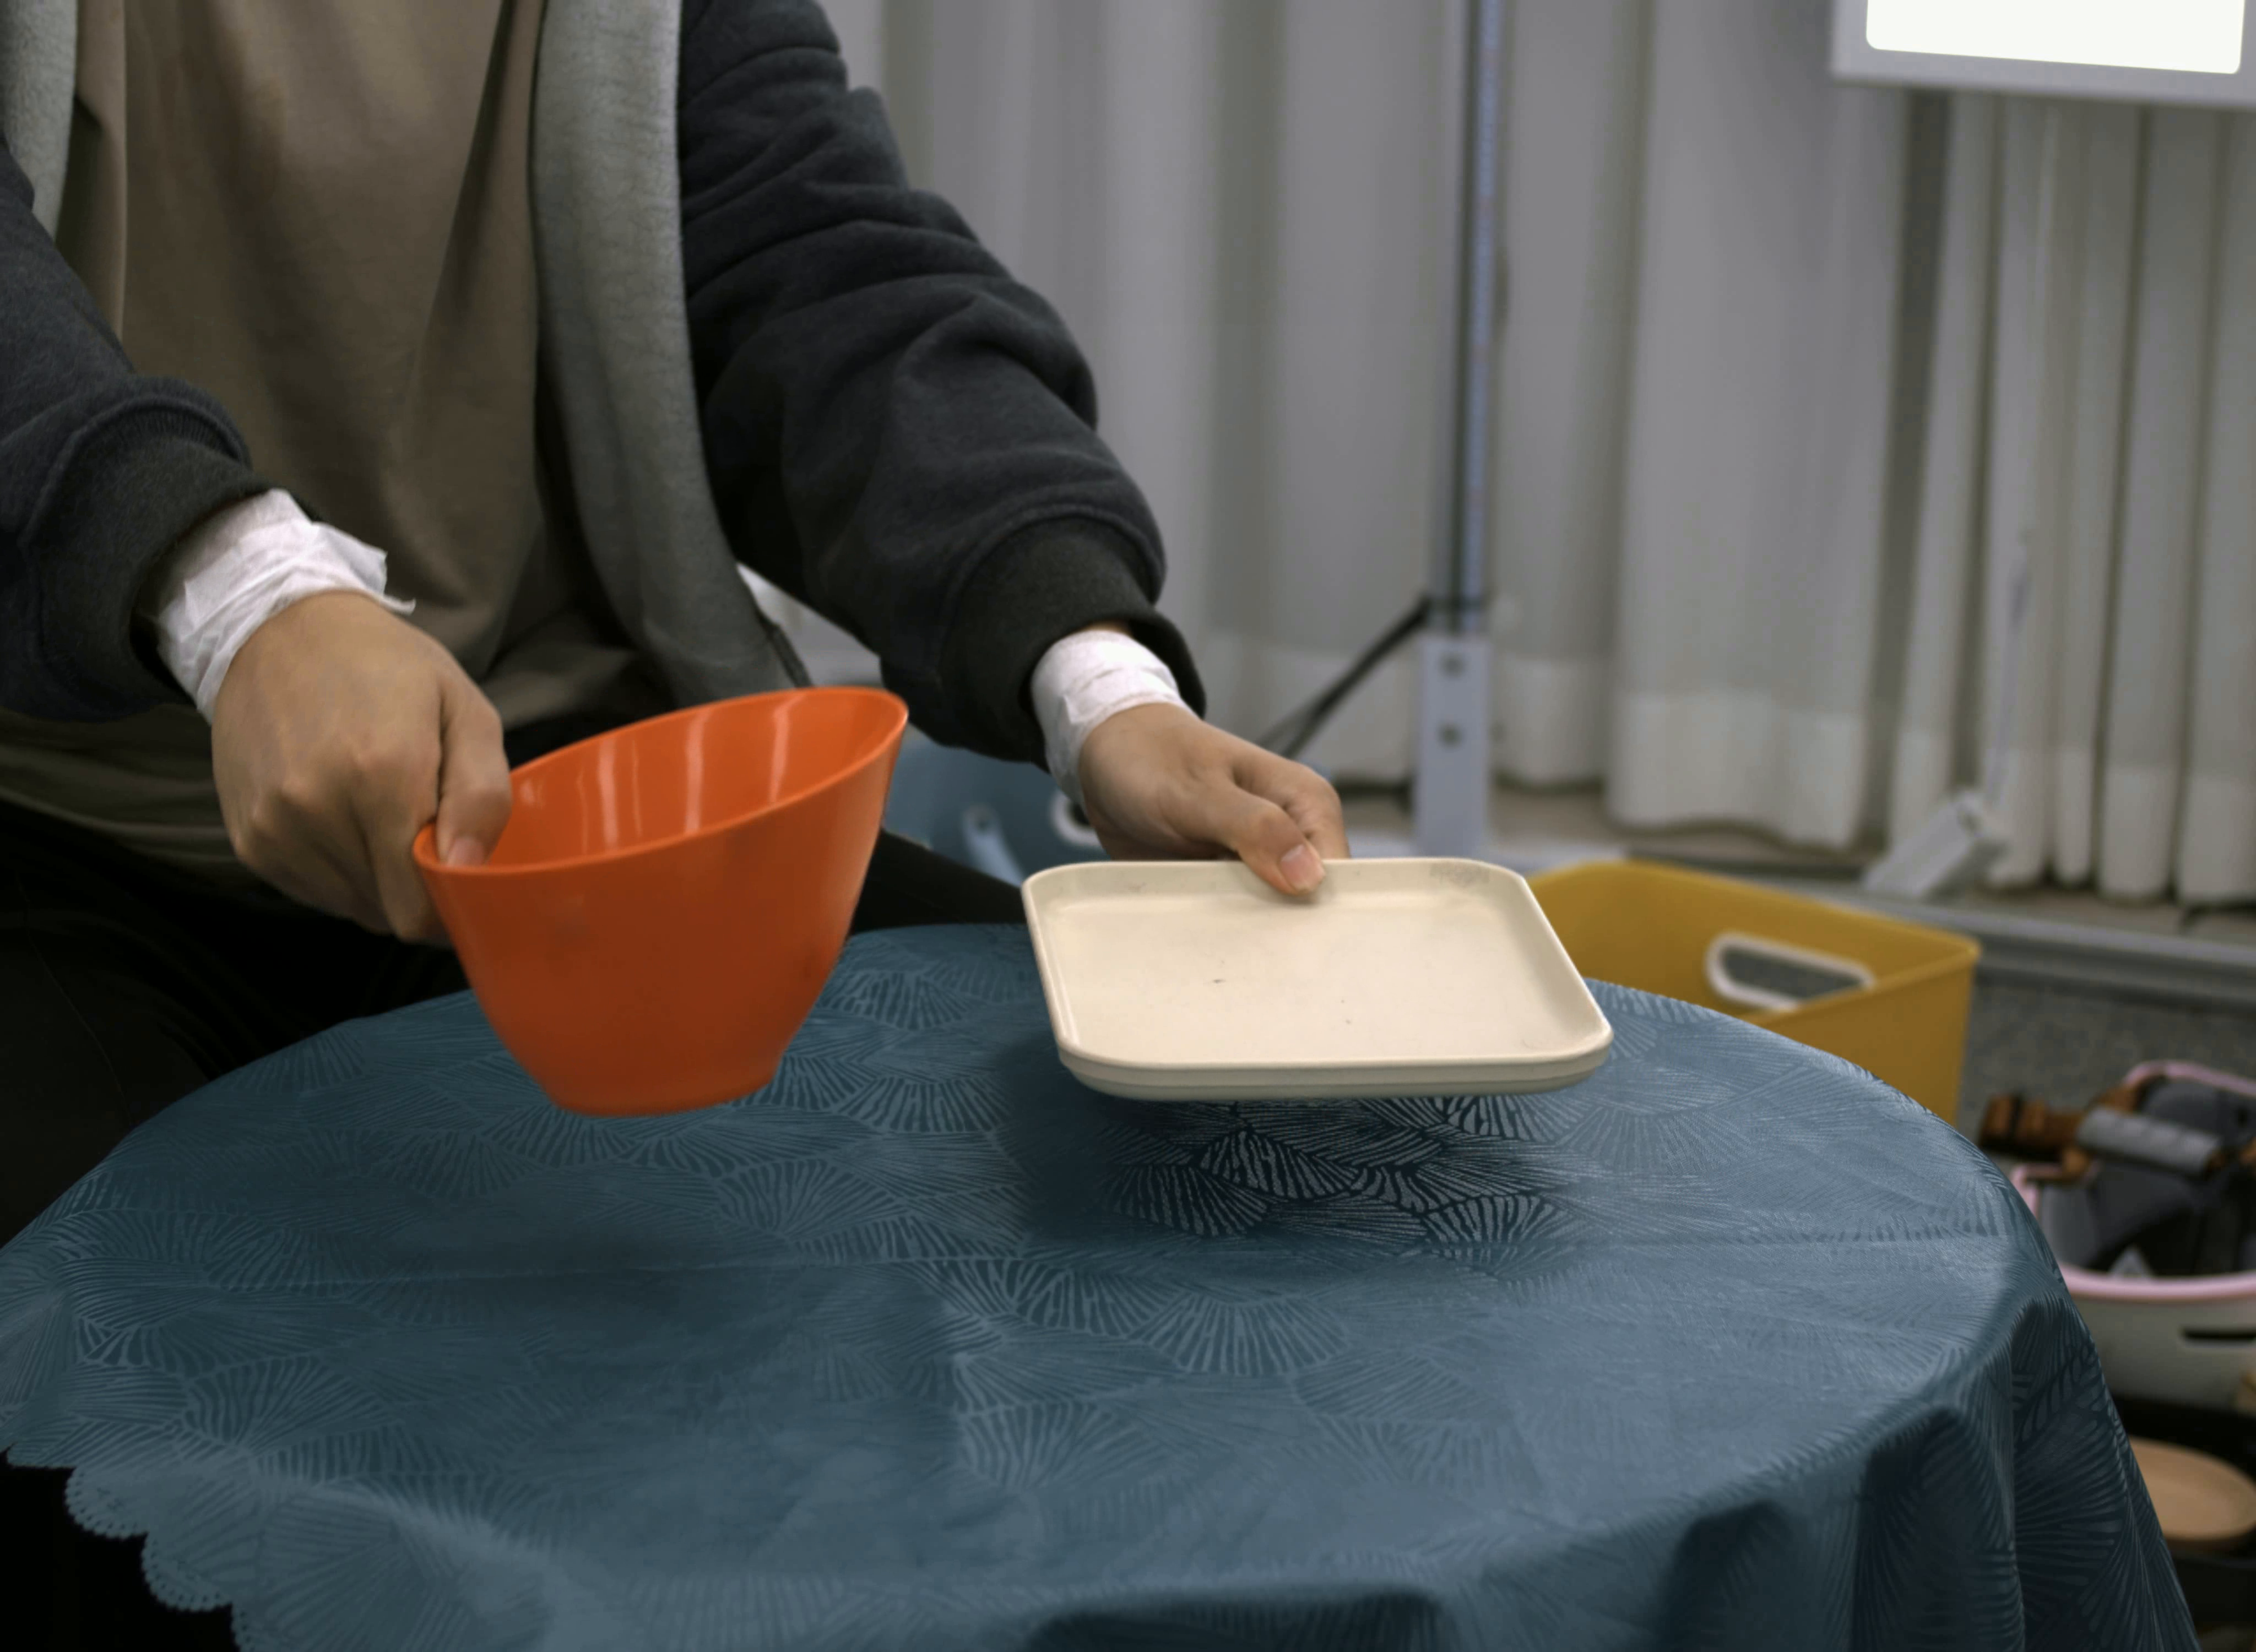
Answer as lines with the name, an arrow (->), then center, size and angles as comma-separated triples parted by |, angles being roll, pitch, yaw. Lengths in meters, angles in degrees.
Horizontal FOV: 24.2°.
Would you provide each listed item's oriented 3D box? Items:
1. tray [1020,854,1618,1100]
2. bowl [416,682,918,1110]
tray -> 0.056, 0.047, 1.674 | 0.171, 0.017, 0.238 | -1, 14, -5
bowl -> -0.130, 0.023, 1.531 | 0.147, 0.105, 0.147 | -4, 14, 1
